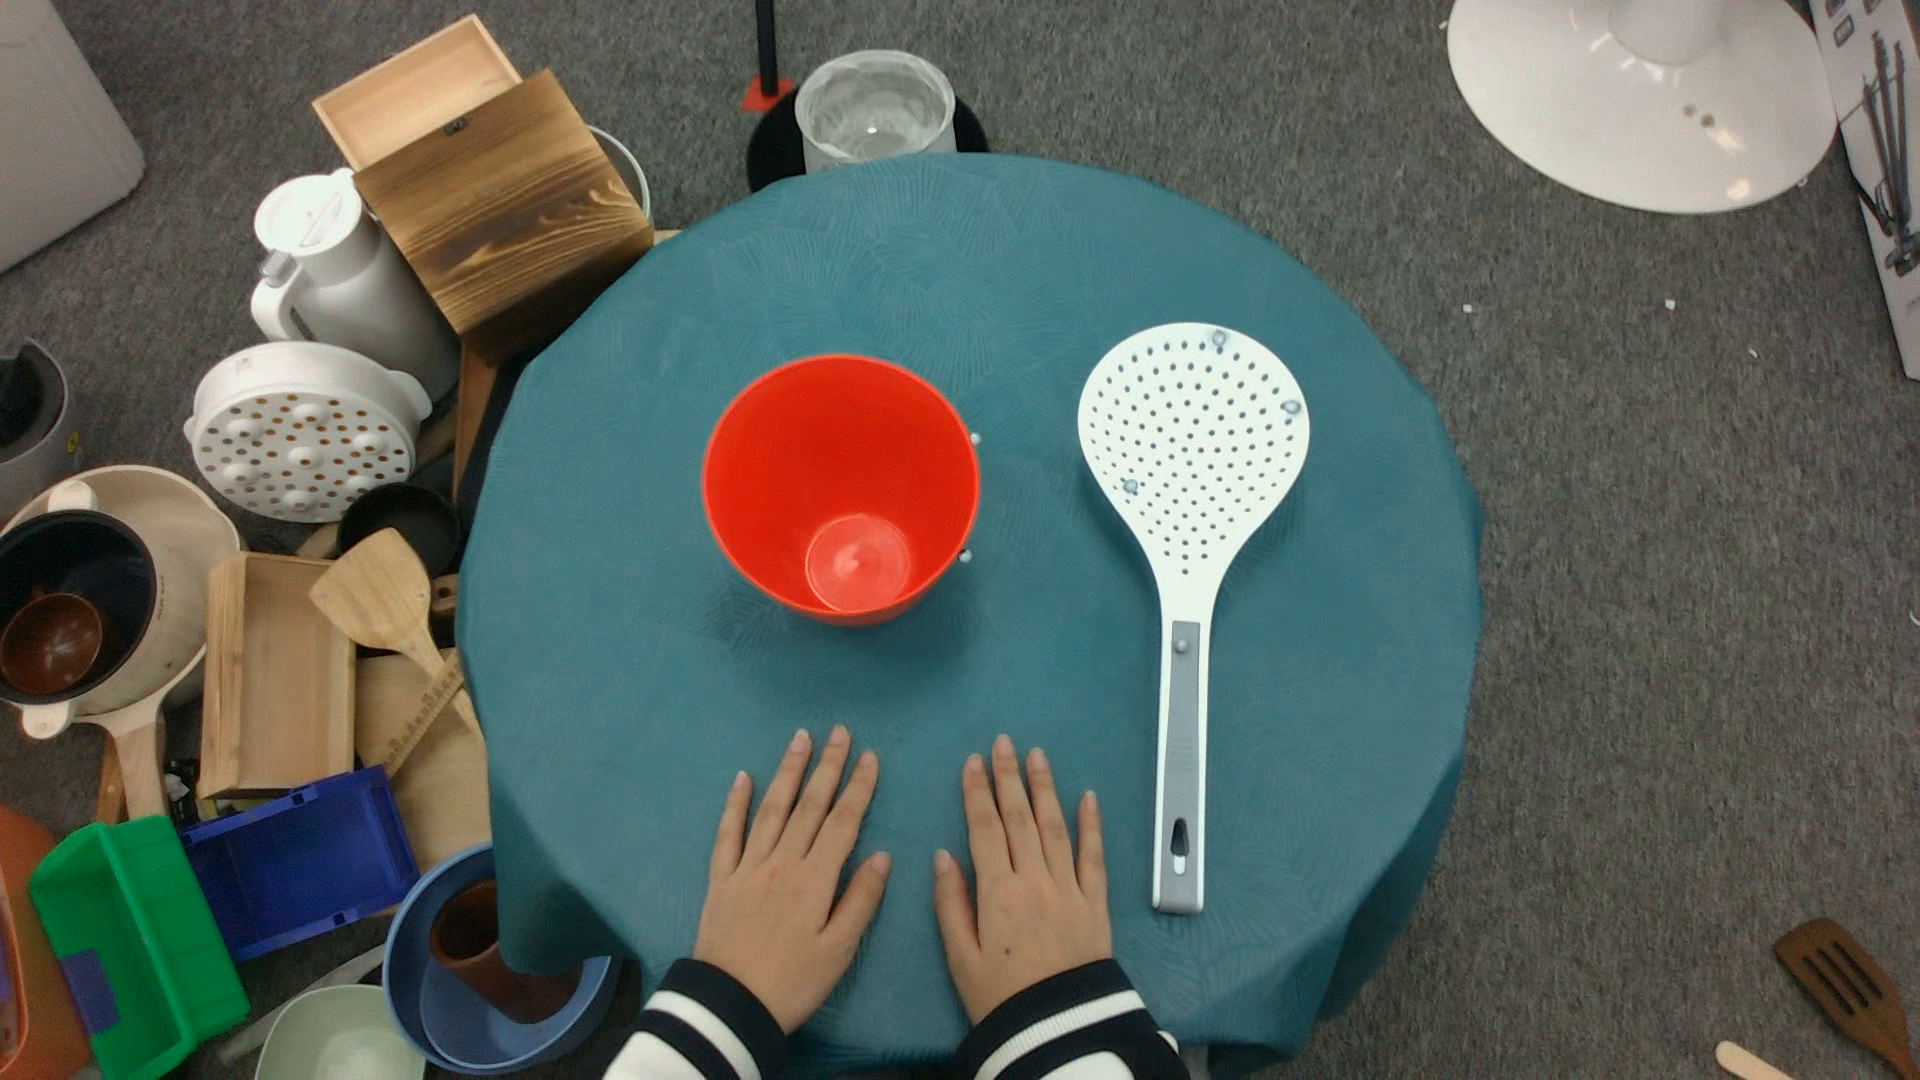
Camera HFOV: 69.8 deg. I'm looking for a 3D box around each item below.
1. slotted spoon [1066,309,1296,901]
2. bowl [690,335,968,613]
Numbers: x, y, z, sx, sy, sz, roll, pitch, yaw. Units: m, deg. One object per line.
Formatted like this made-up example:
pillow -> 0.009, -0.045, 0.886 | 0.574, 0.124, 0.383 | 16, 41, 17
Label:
slotted spoon -> 0.120, 0.026, 0.783 | 0.136, 0.045, 0.351 | 5, 64, 3
bowl -> -0.072, -0.024, 0.769 | 0.148, 0.104, 0.148 | 2, 63, -4
